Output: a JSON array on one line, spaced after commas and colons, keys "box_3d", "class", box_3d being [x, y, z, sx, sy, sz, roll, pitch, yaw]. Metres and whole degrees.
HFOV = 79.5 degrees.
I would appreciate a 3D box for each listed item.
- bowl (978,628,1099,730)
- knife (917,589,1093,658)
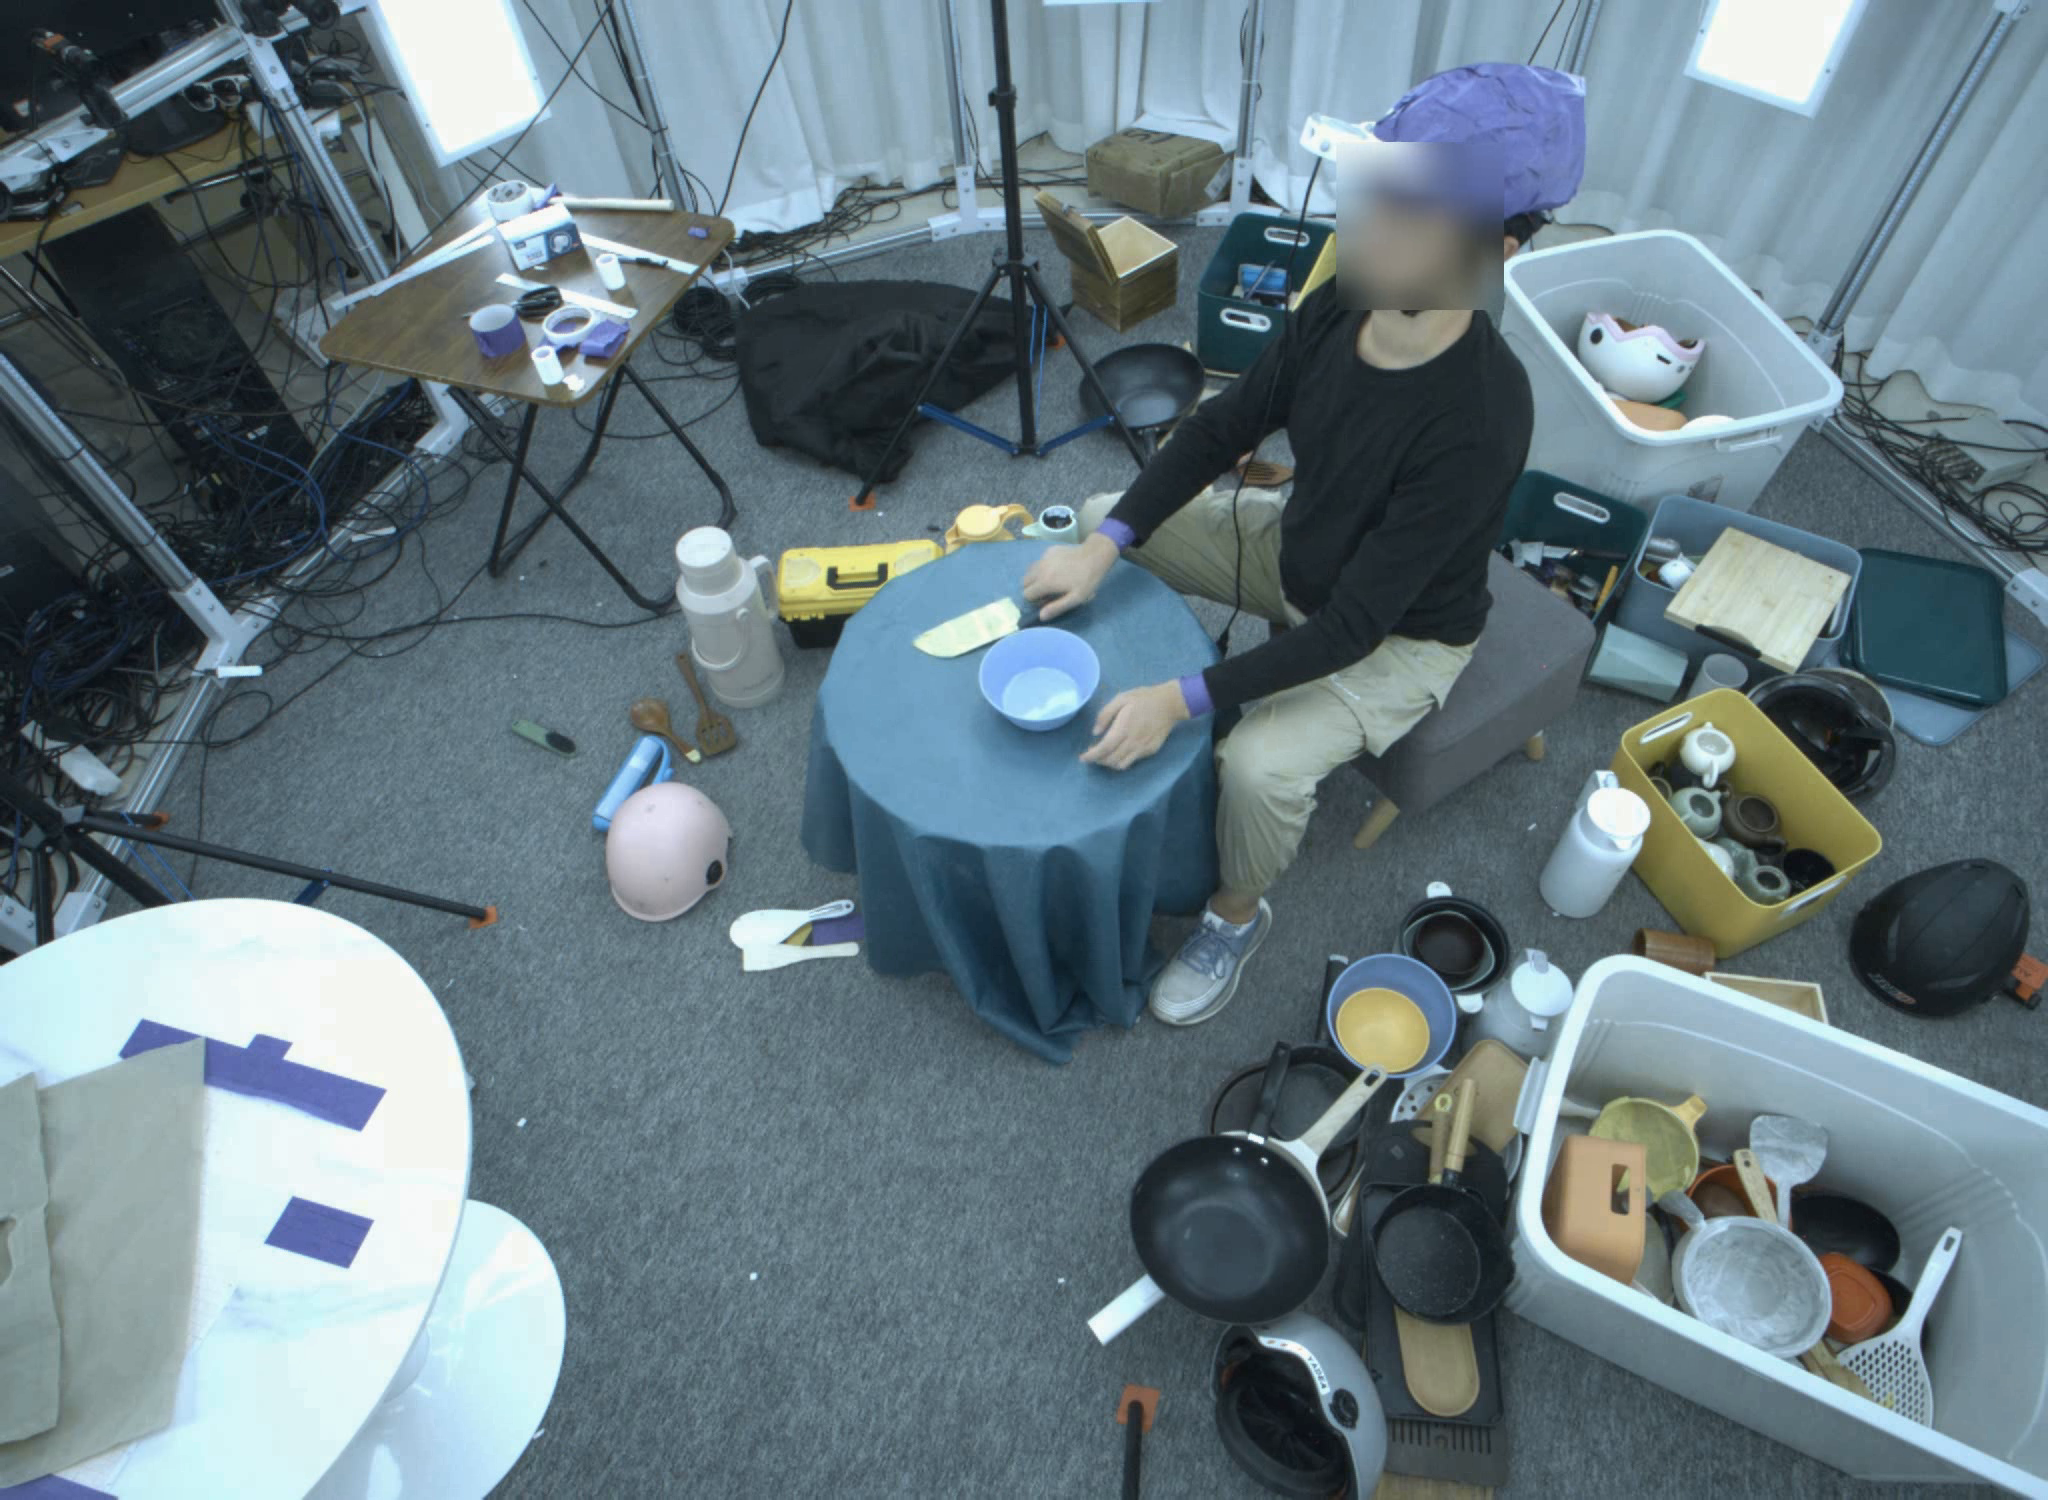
[{"box_3d": [0.022, -0.094, 1.808, 0.176, 0.071, 0.174, -1, 54, 2], "class": "bowl"}, {"box_3d": [-0.032, -0.206, 1.923, 0.291, 0.027, 0.079, -19, 57, -11], "class": "knife"}]
